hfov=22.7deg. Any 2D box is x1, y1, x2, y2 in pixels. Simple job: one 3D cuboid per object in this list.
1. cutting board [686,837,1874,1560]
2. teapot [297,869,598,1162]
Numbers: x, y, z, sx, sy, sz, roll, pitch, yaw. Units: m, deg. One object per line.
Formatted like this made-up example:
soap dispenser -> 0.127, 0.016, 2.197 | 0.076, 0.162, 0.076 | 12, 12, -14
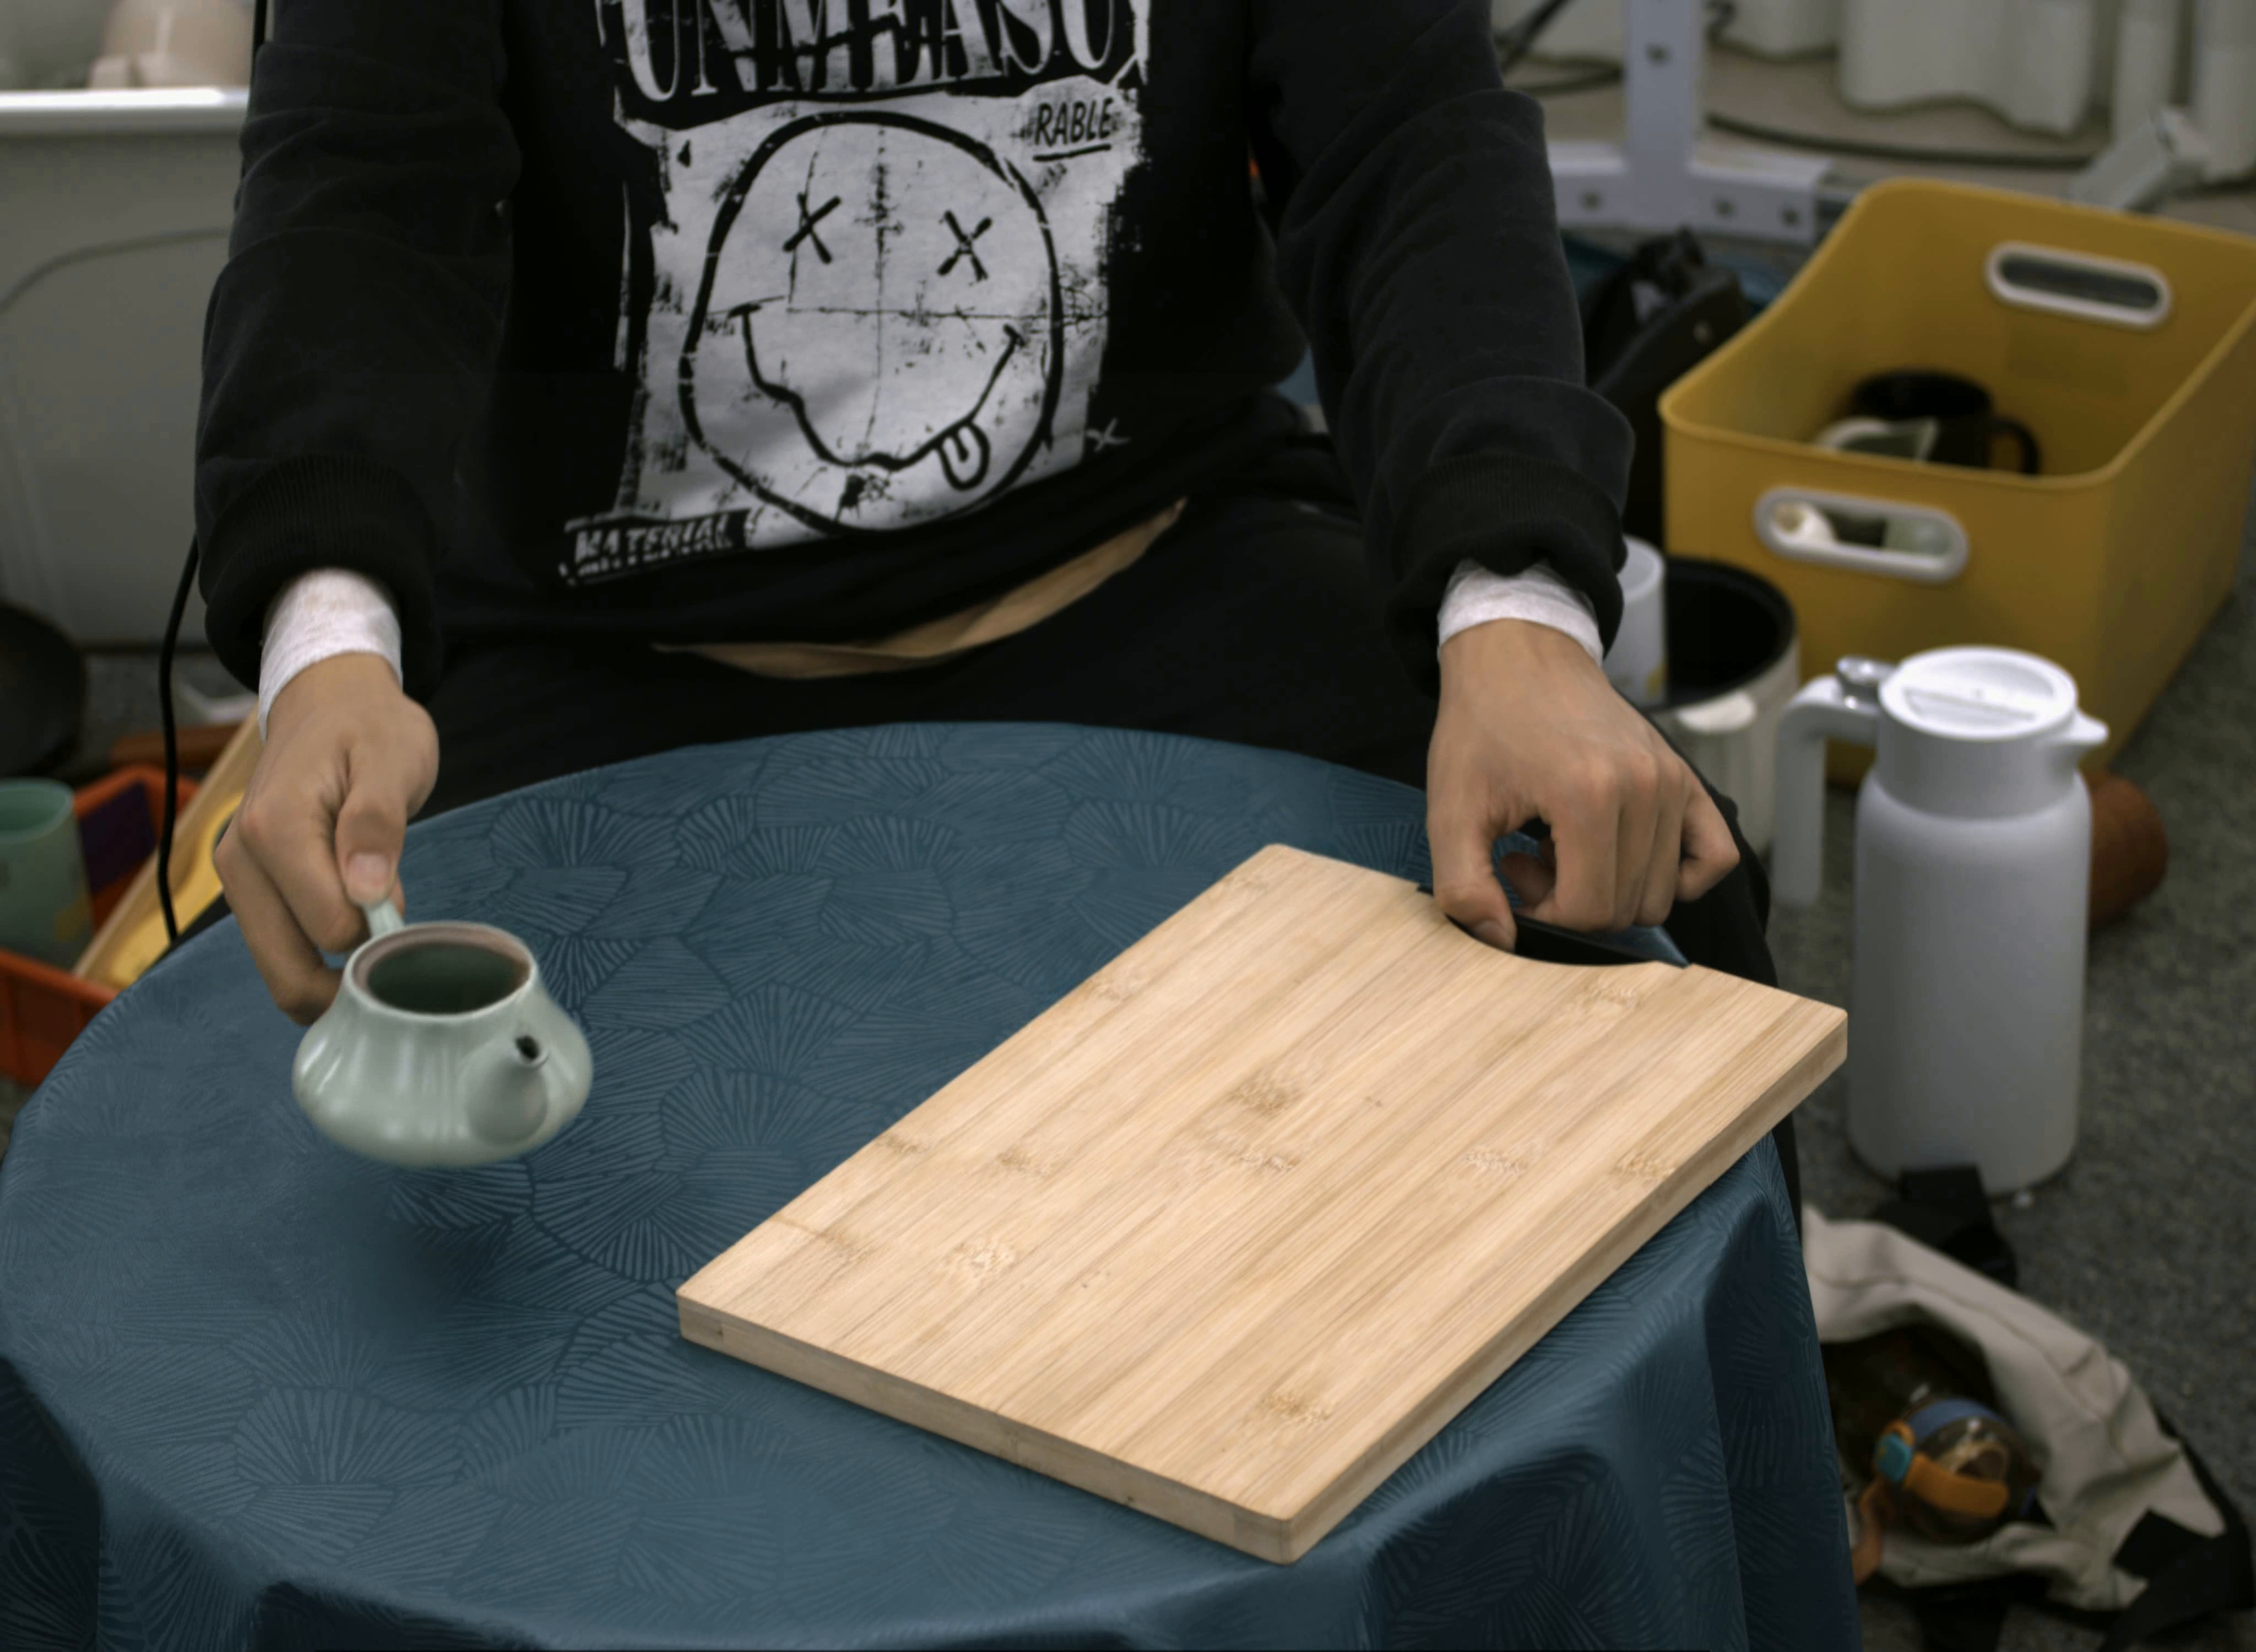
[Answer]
cutting board -> 0.054, 0.111, 1.848 | 0.249, 0.023, 0.354 | 15, 34, 31
teapot -> -0.222, 0.064, 1.809 | 0.097, 0.060, 0.137 | -19, 36, -32
